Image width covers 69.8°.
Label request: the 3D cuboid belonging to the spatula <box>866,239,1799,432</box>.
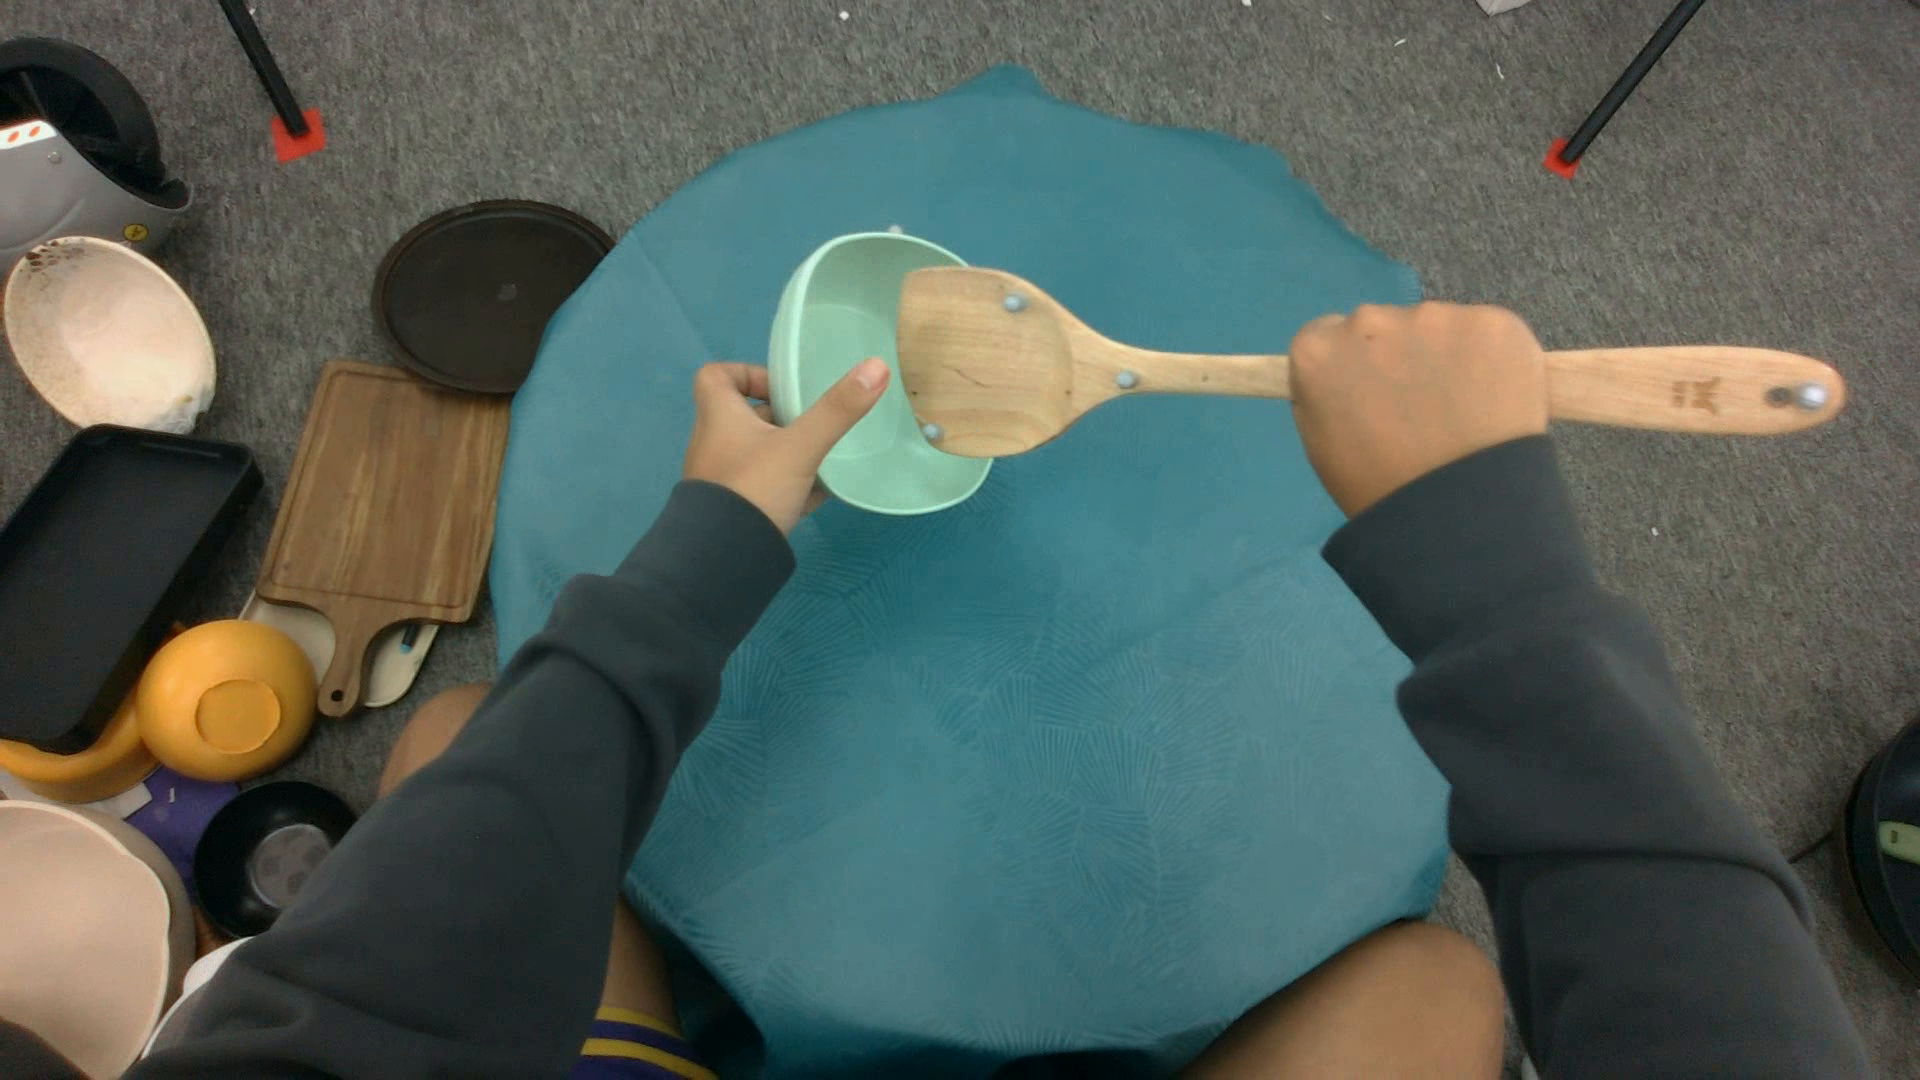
[{"bbox_3d":[0.121,-0.082,0.571,0.390,0.095,0.018,7,29,33],"label":"spatula"}]

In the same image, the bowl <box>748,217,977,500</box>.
[{"bbox_3d":[-0.056,-0.089,0.698,0.152,0.058,0.151,-1,91,-46],"label":"bowl"}]
